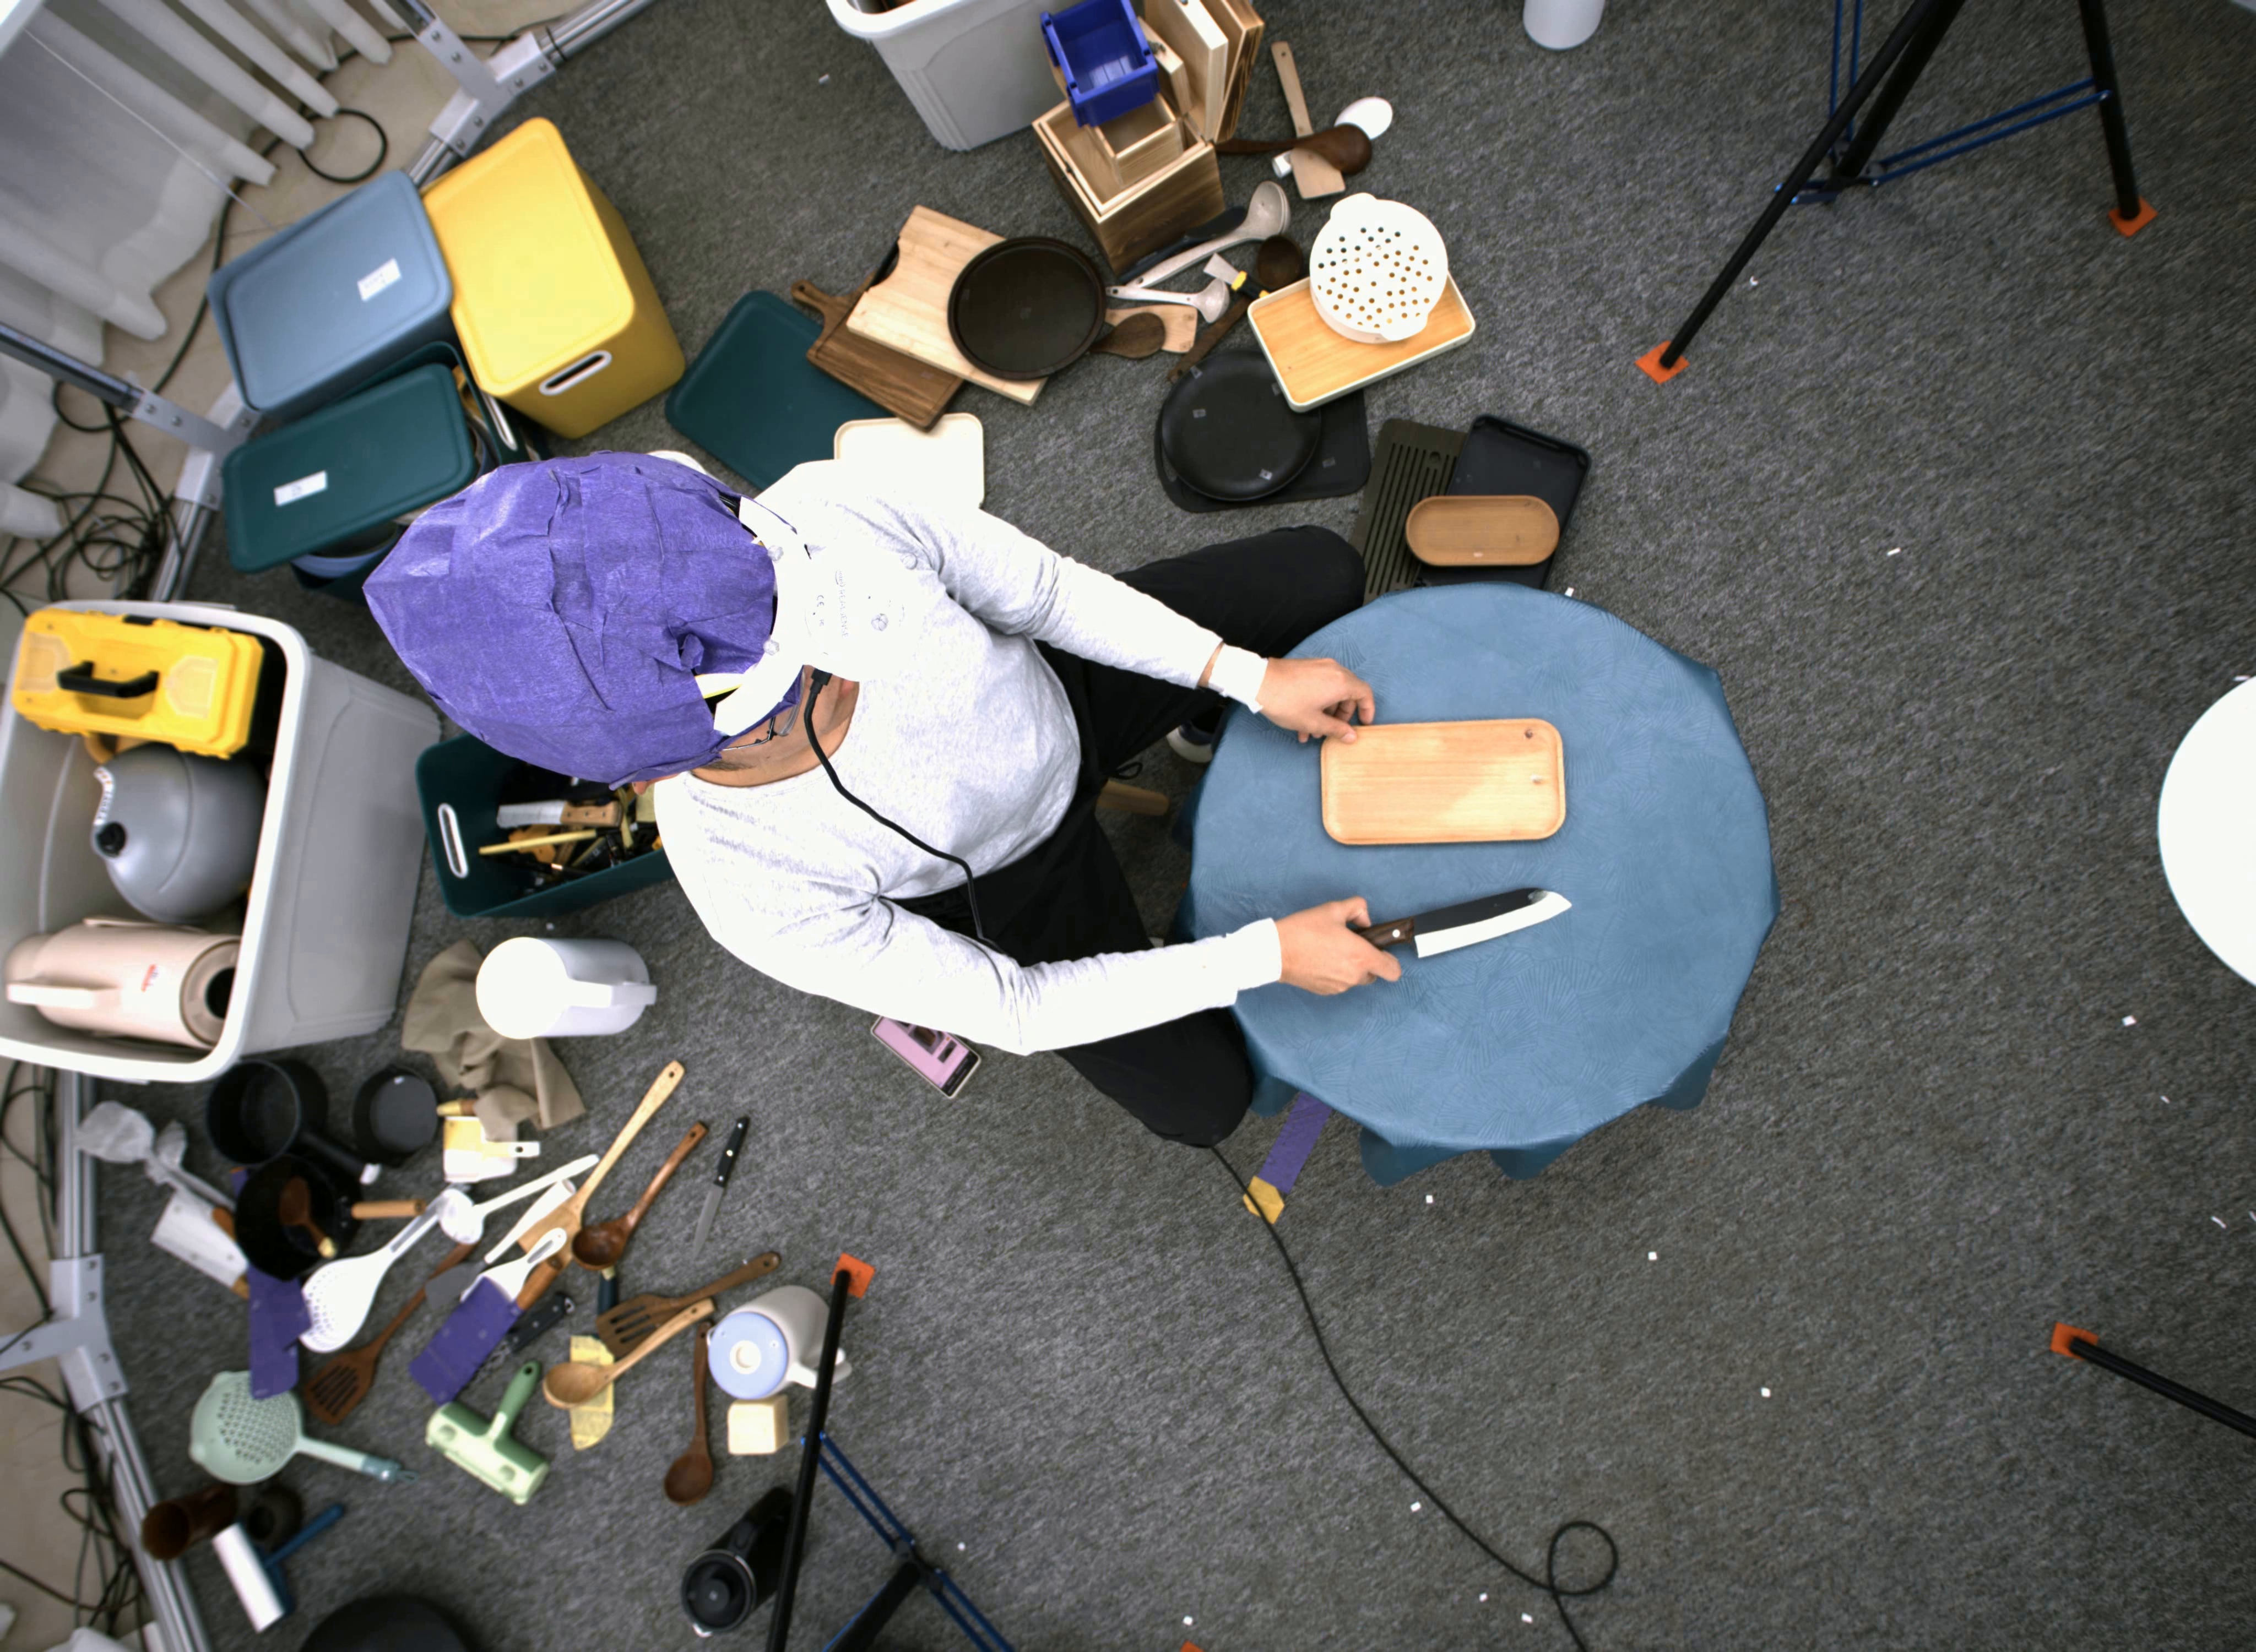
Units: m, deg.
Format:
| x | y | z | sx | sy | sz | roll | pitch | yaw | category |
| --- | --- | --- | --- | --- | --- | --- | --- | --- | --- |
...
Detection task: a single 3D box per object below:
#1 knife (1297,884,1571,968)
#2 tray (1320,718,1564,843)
| x | y | z | sx | sy | sz | roll | pitch | yaw | category |
| --- | --- | --- | --- | --- | --- | --- | --- | --- | --- |
| 0.318 | 0.104 | 1.432 | 0.290 | 0.020 | 0.050 | -12 | 96 | 3 | knife |
| 0.329 | -0.048 | 1.448 | 0.252 | 0.023 | 0.130 | -1 | 85 | 11 | tray |
